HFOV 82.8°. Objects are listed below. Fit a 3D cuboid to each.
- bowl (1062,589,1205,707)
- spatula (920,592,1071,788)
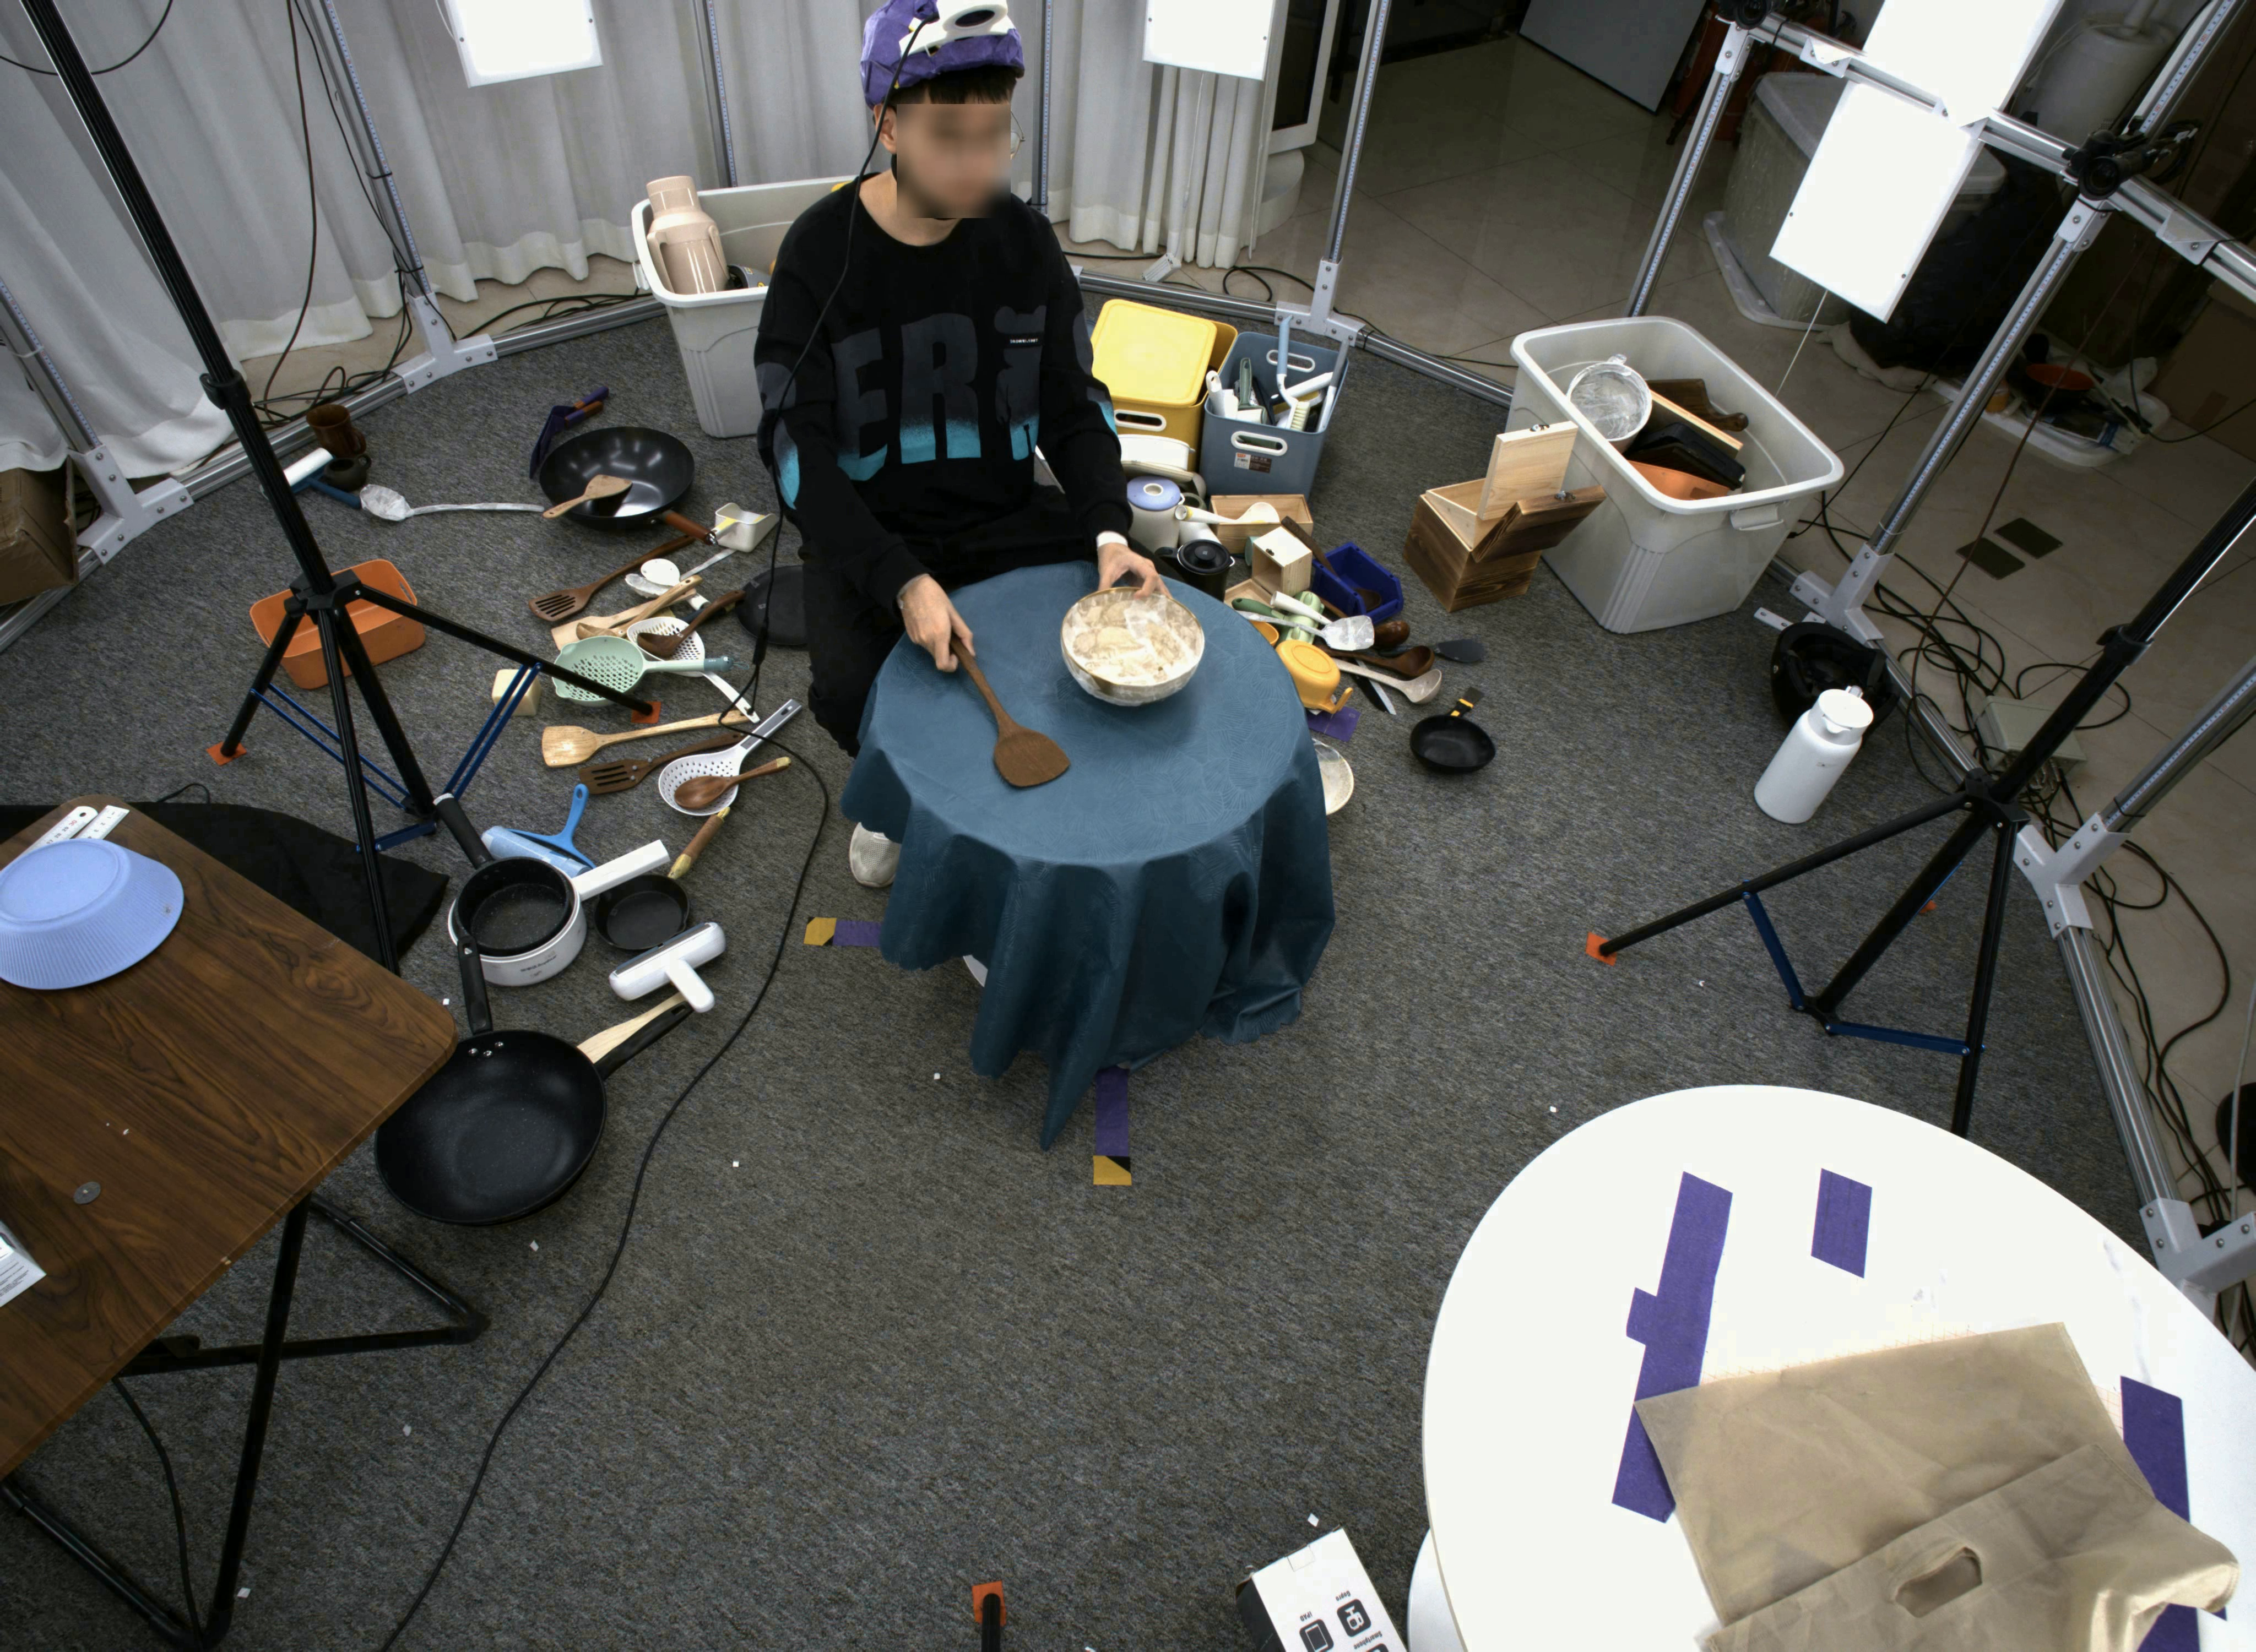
[{"bbox_3d":[0.005,-0.241,1.834,0.214,0.092,0.220,1,49,-2],"label":"bowl"},{"bbox_3d":[-0.205,-0.201,1.816,0.096,0.015,0.393,-21,60,-22],"label":"spatula"}]
